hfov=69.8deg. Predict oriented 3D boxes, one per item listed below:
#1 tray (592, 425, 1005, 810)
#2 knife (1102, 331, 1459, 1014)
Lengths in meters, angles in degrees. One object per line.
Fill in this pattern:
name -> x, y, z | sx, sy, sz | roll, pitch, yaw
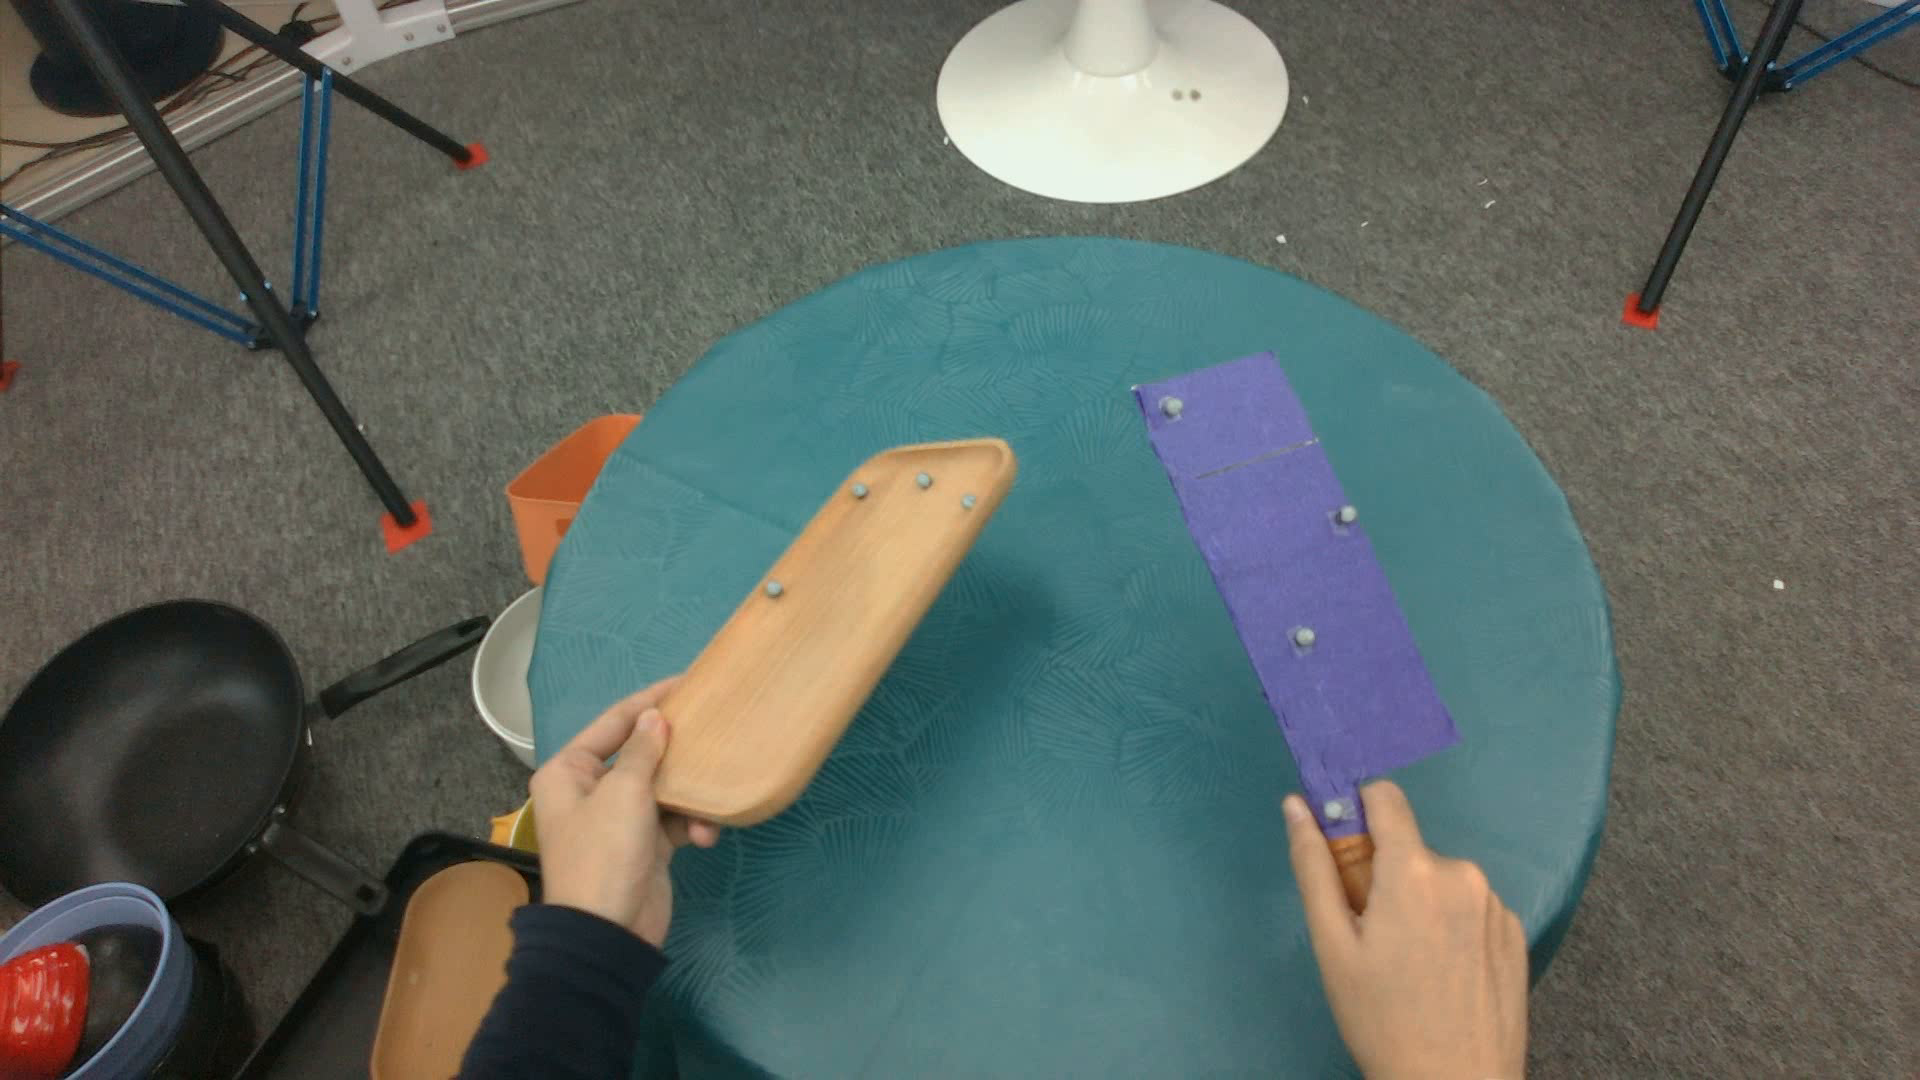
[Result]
tray -> -0.076, 0.030, 0.693 | 0.130, 0.023, 0.252 | 0, 45, 47
knife -> 0.167, 0.046, 0.627 | 0.104, 0.032, 0.315 | -16, 78, -25
